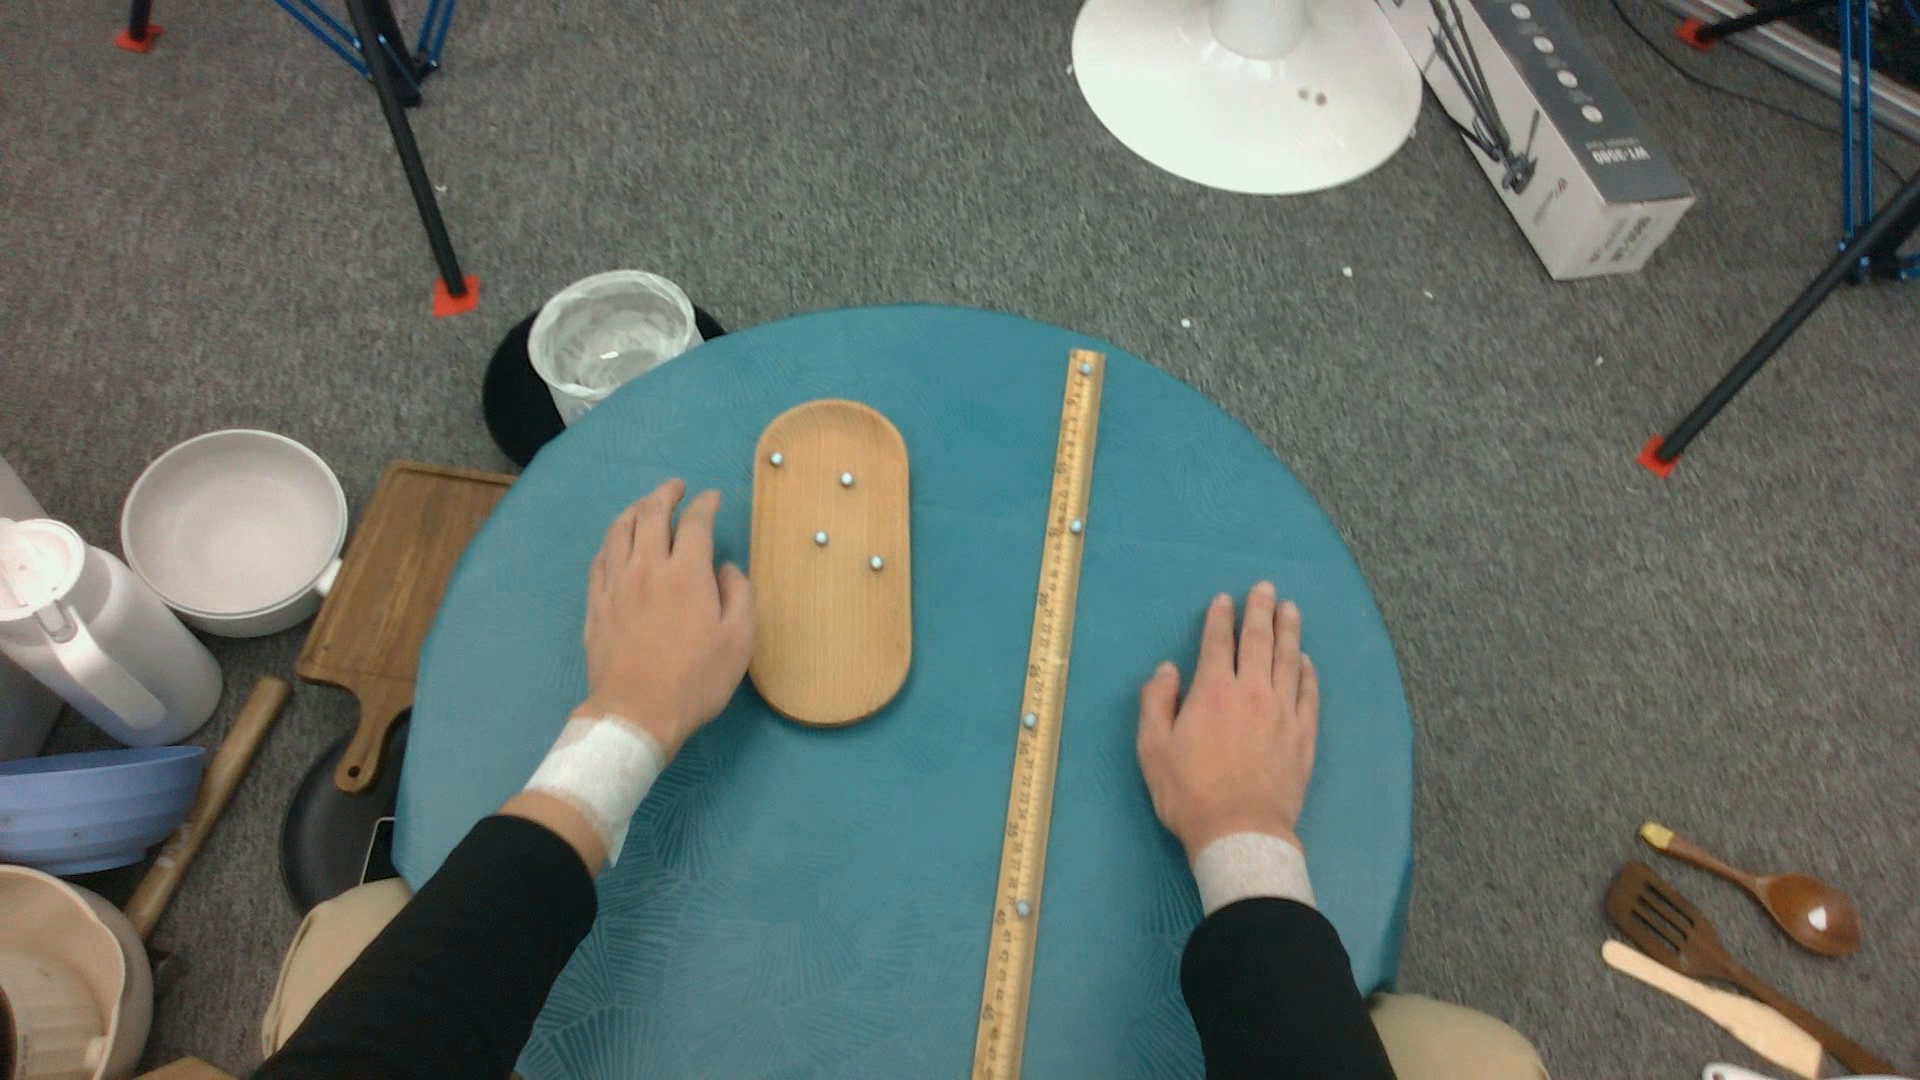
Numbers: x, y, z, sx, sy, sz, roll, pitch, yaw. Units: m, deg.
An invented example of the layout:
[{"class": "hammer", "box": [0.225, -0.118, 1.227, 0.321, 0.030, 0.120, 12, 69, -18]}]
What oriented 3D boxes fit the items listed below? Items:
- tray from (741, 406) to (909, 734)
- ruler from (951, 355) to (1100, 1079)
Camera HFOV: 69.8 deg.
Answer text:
[{"class": "tray", "box": [-0.086, 0.013, 0.865, 0.102, 0.020, 0.232, -2, 61, -4]}, {"class": "ruler", "box": [0.046, 0.083, 0.841, 0.027, 0.006, 0.502, 9, 59, 3]}]
